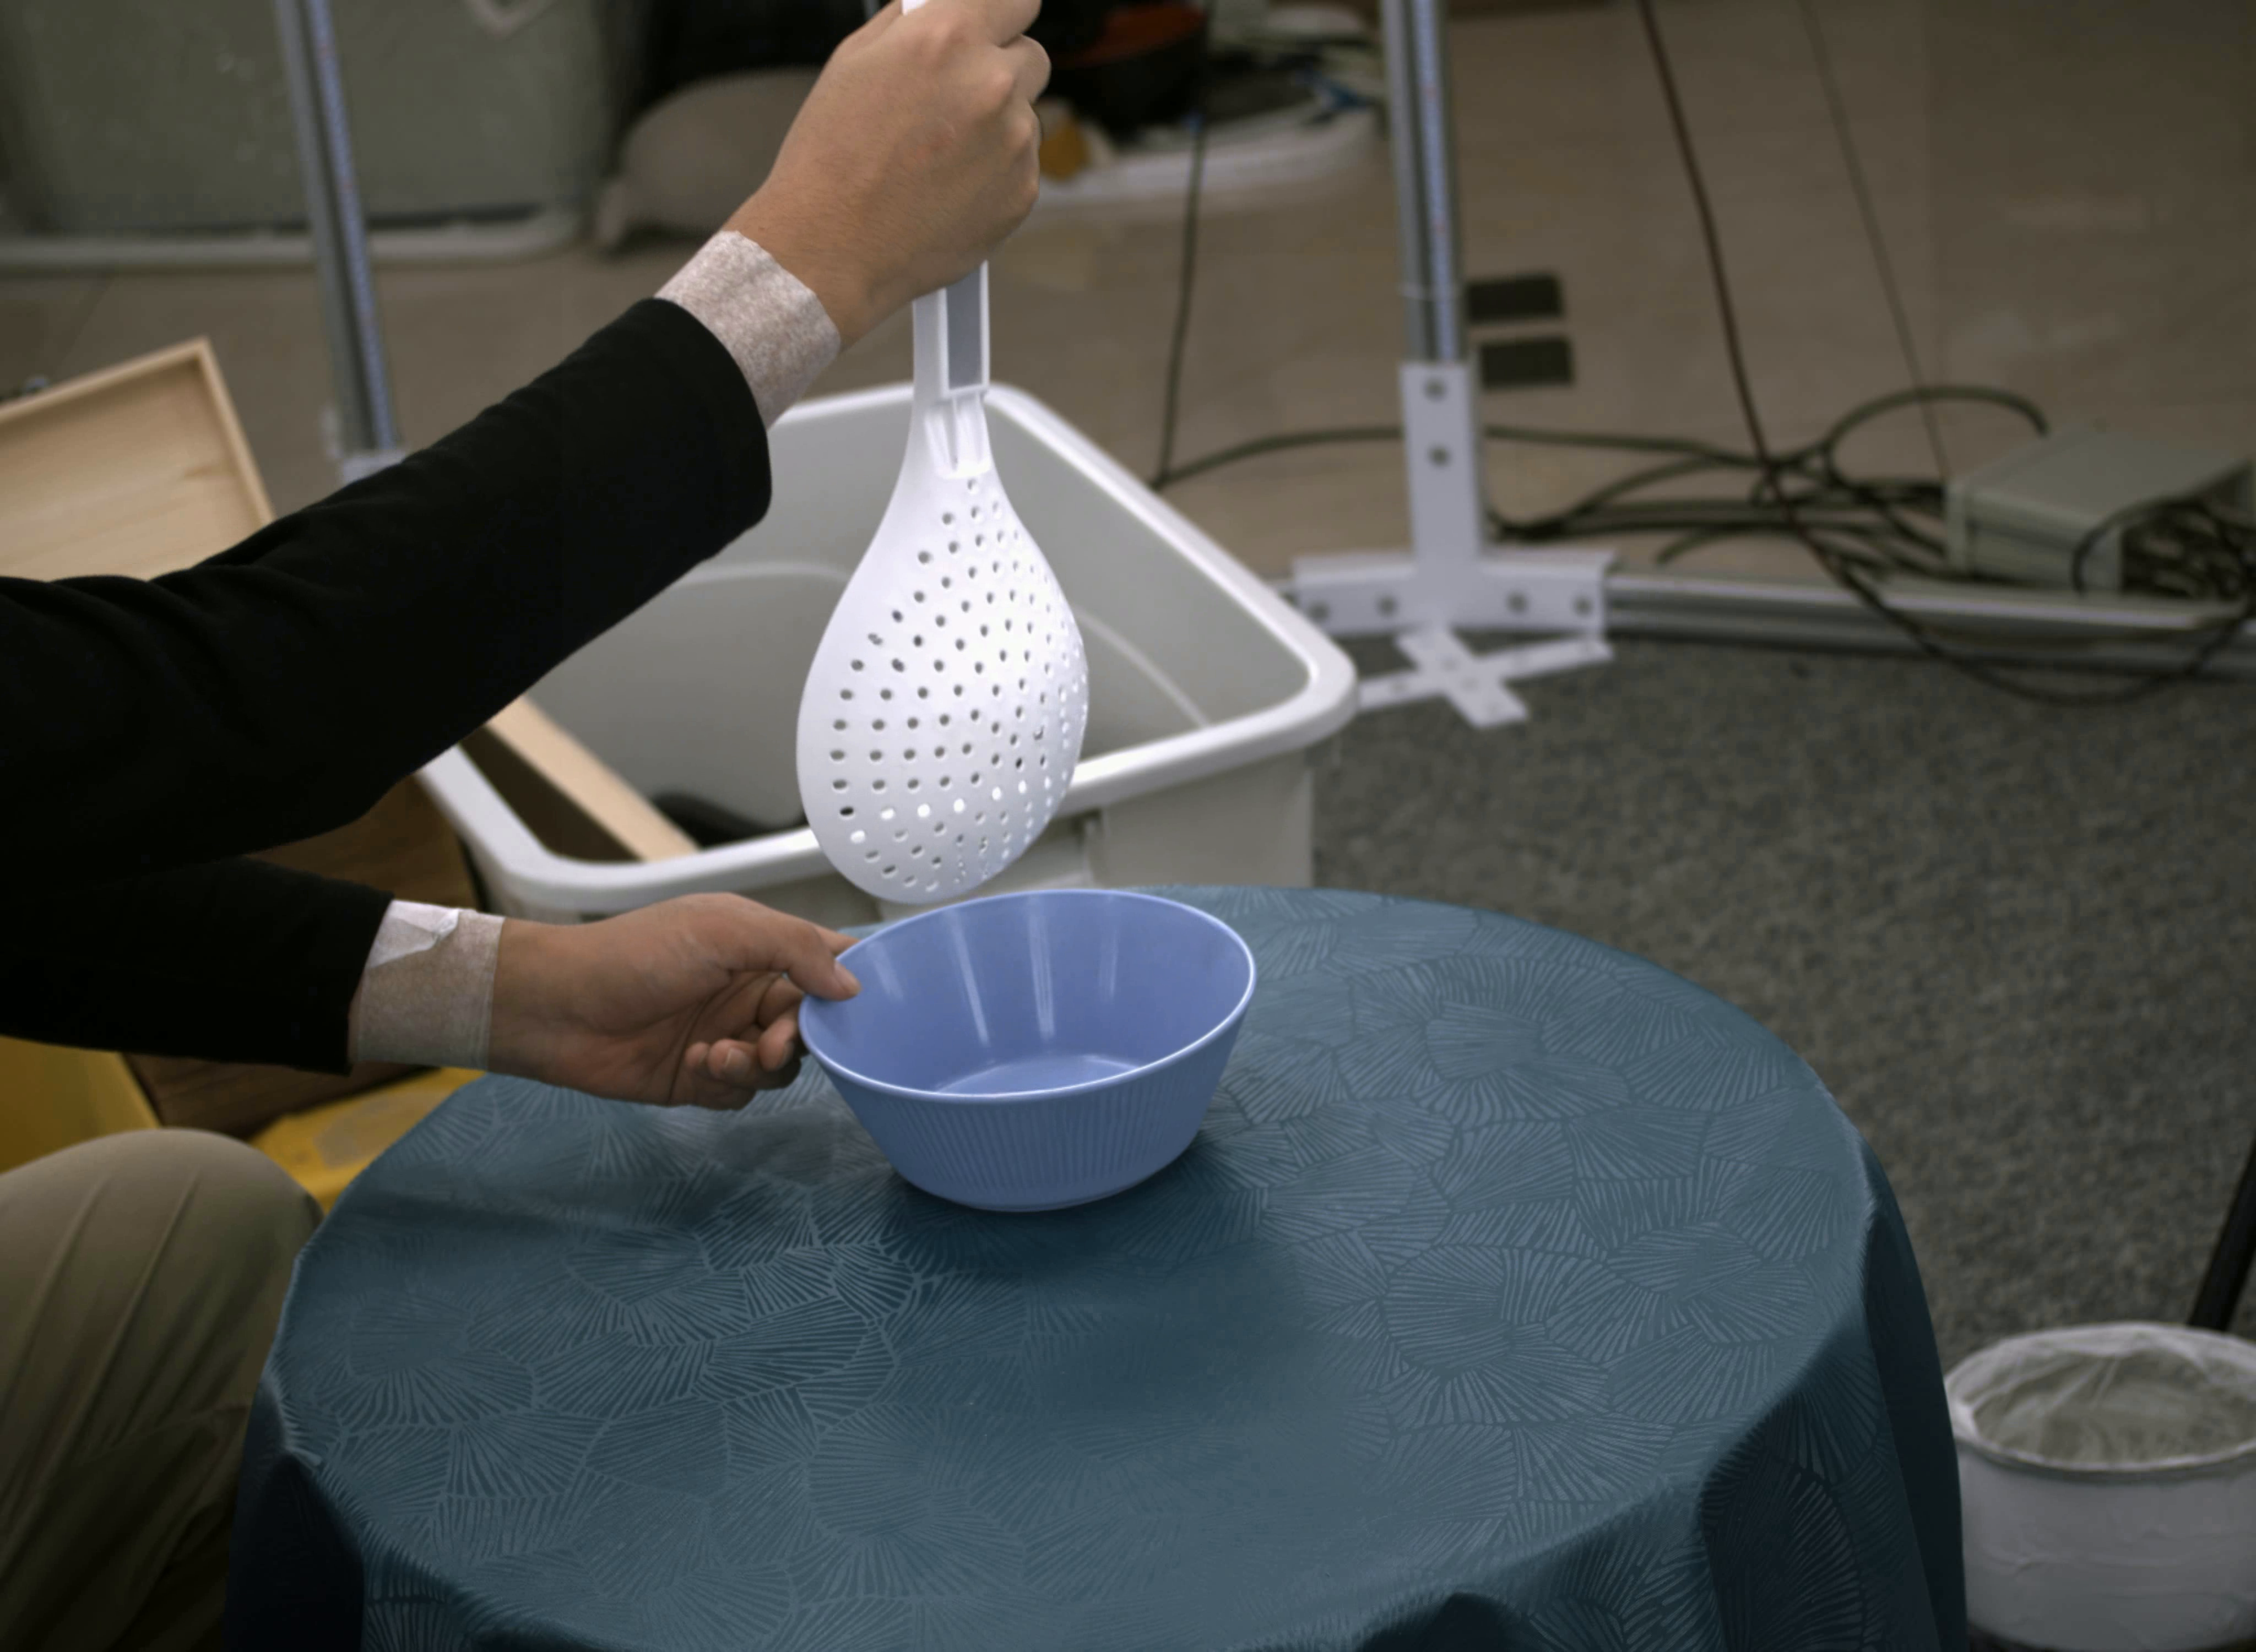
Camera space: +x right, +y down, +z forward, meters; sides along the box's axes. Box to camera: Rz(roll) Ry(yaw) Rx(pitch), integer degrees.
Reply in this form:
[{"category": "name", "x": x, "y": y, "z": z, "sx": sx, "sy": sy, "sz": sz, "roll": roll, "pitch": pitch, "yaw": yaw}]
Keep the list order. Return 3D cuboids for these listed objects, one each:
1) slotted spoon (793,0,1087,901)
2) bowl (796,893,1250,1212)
[{"category": "slotted spoon", "x": -0.063, "y": -0.141, "z": 1.998, "sx": 0.135, "sy": 0.354, "sz": 0.045, "roll": -16, "pitch": 20, "yaw": -39}, {"category": "bowl", "x": -0.037, "y": 0.093, "z": 2.174, "sx": 0.176, "sy": 0.071, "sz": 0.173, "roll": -6, "pitch": 26, "yaw": 3}]
